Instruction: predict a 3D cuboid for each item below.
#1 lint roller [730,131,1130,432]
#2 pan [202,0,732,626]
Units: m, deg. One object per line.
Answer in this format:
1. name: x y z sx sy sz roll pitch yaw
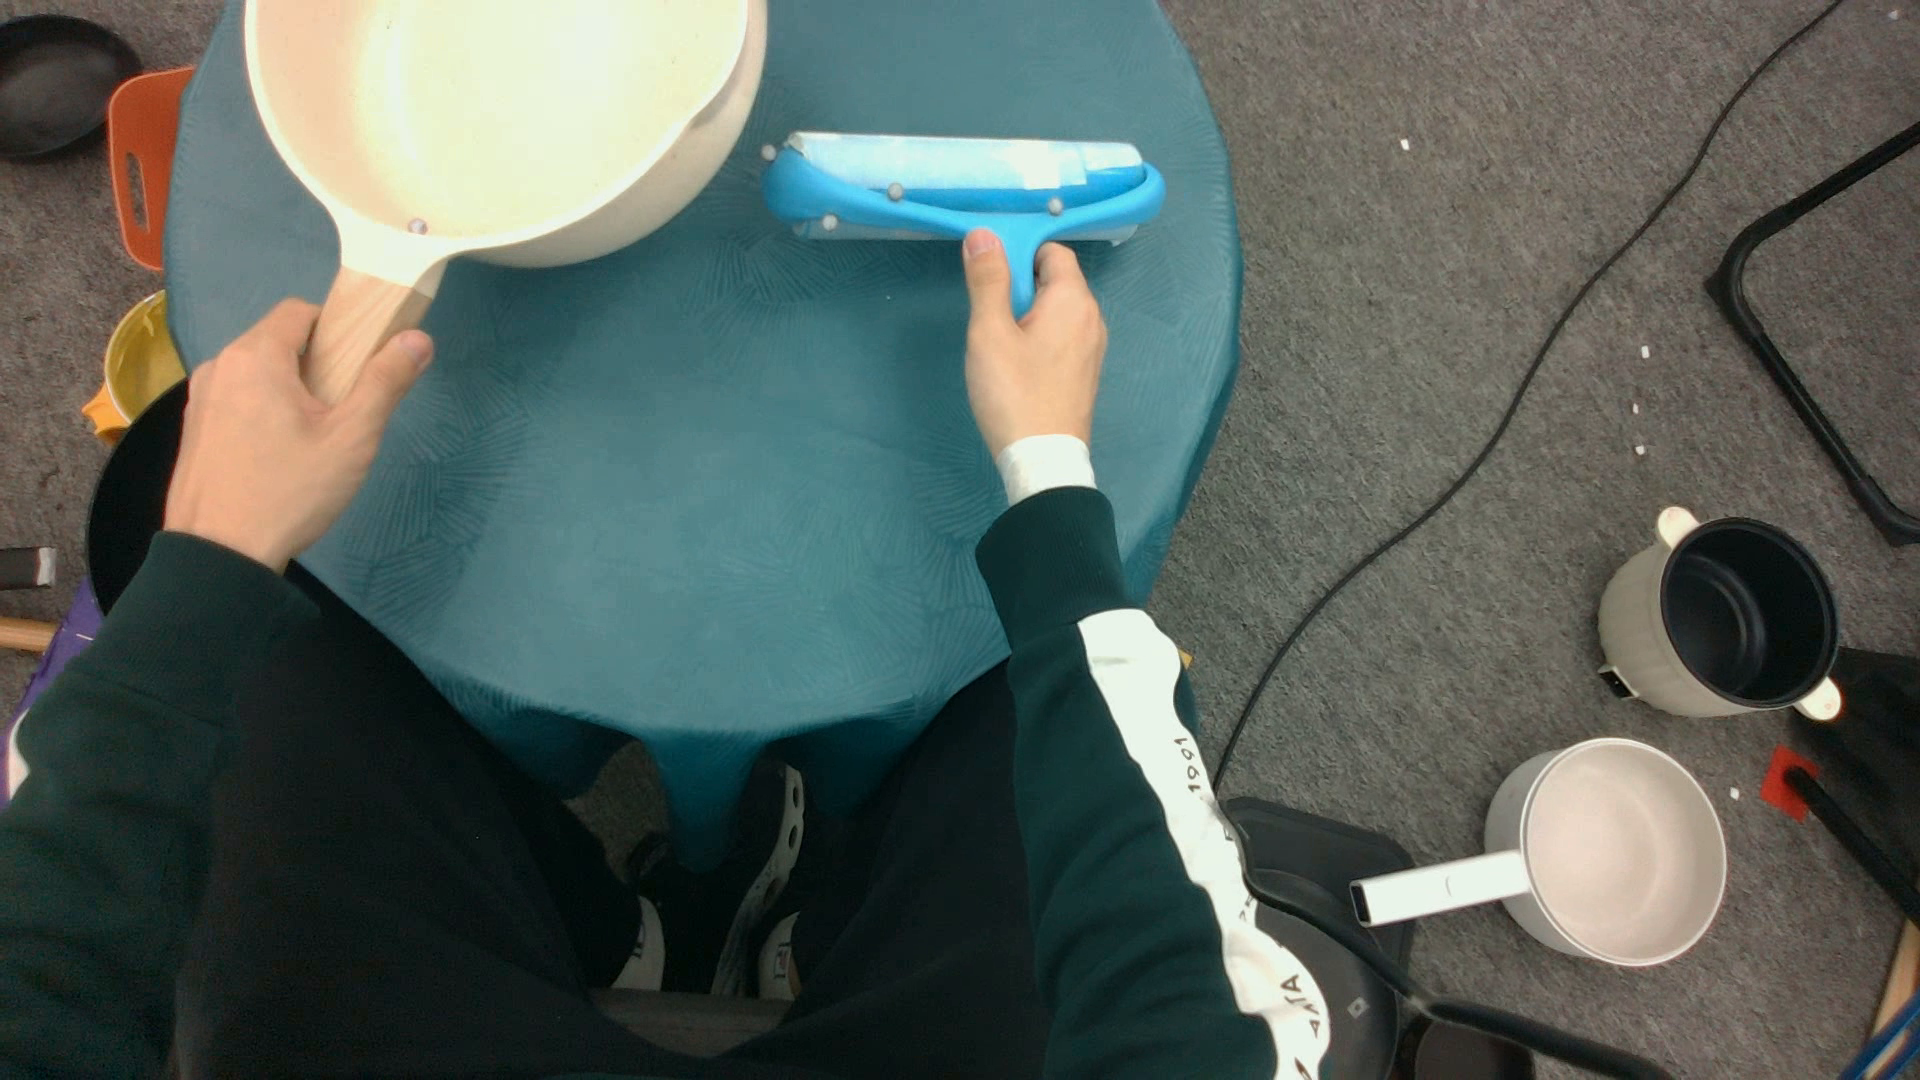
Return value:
1. lint roller: 0.005 -0.149 0.734 0.229 0.067 0.181 -8 61 -24
2. pan: -0.258 -0.166 0.669 0.263 0.102 0.435 16 86 10
